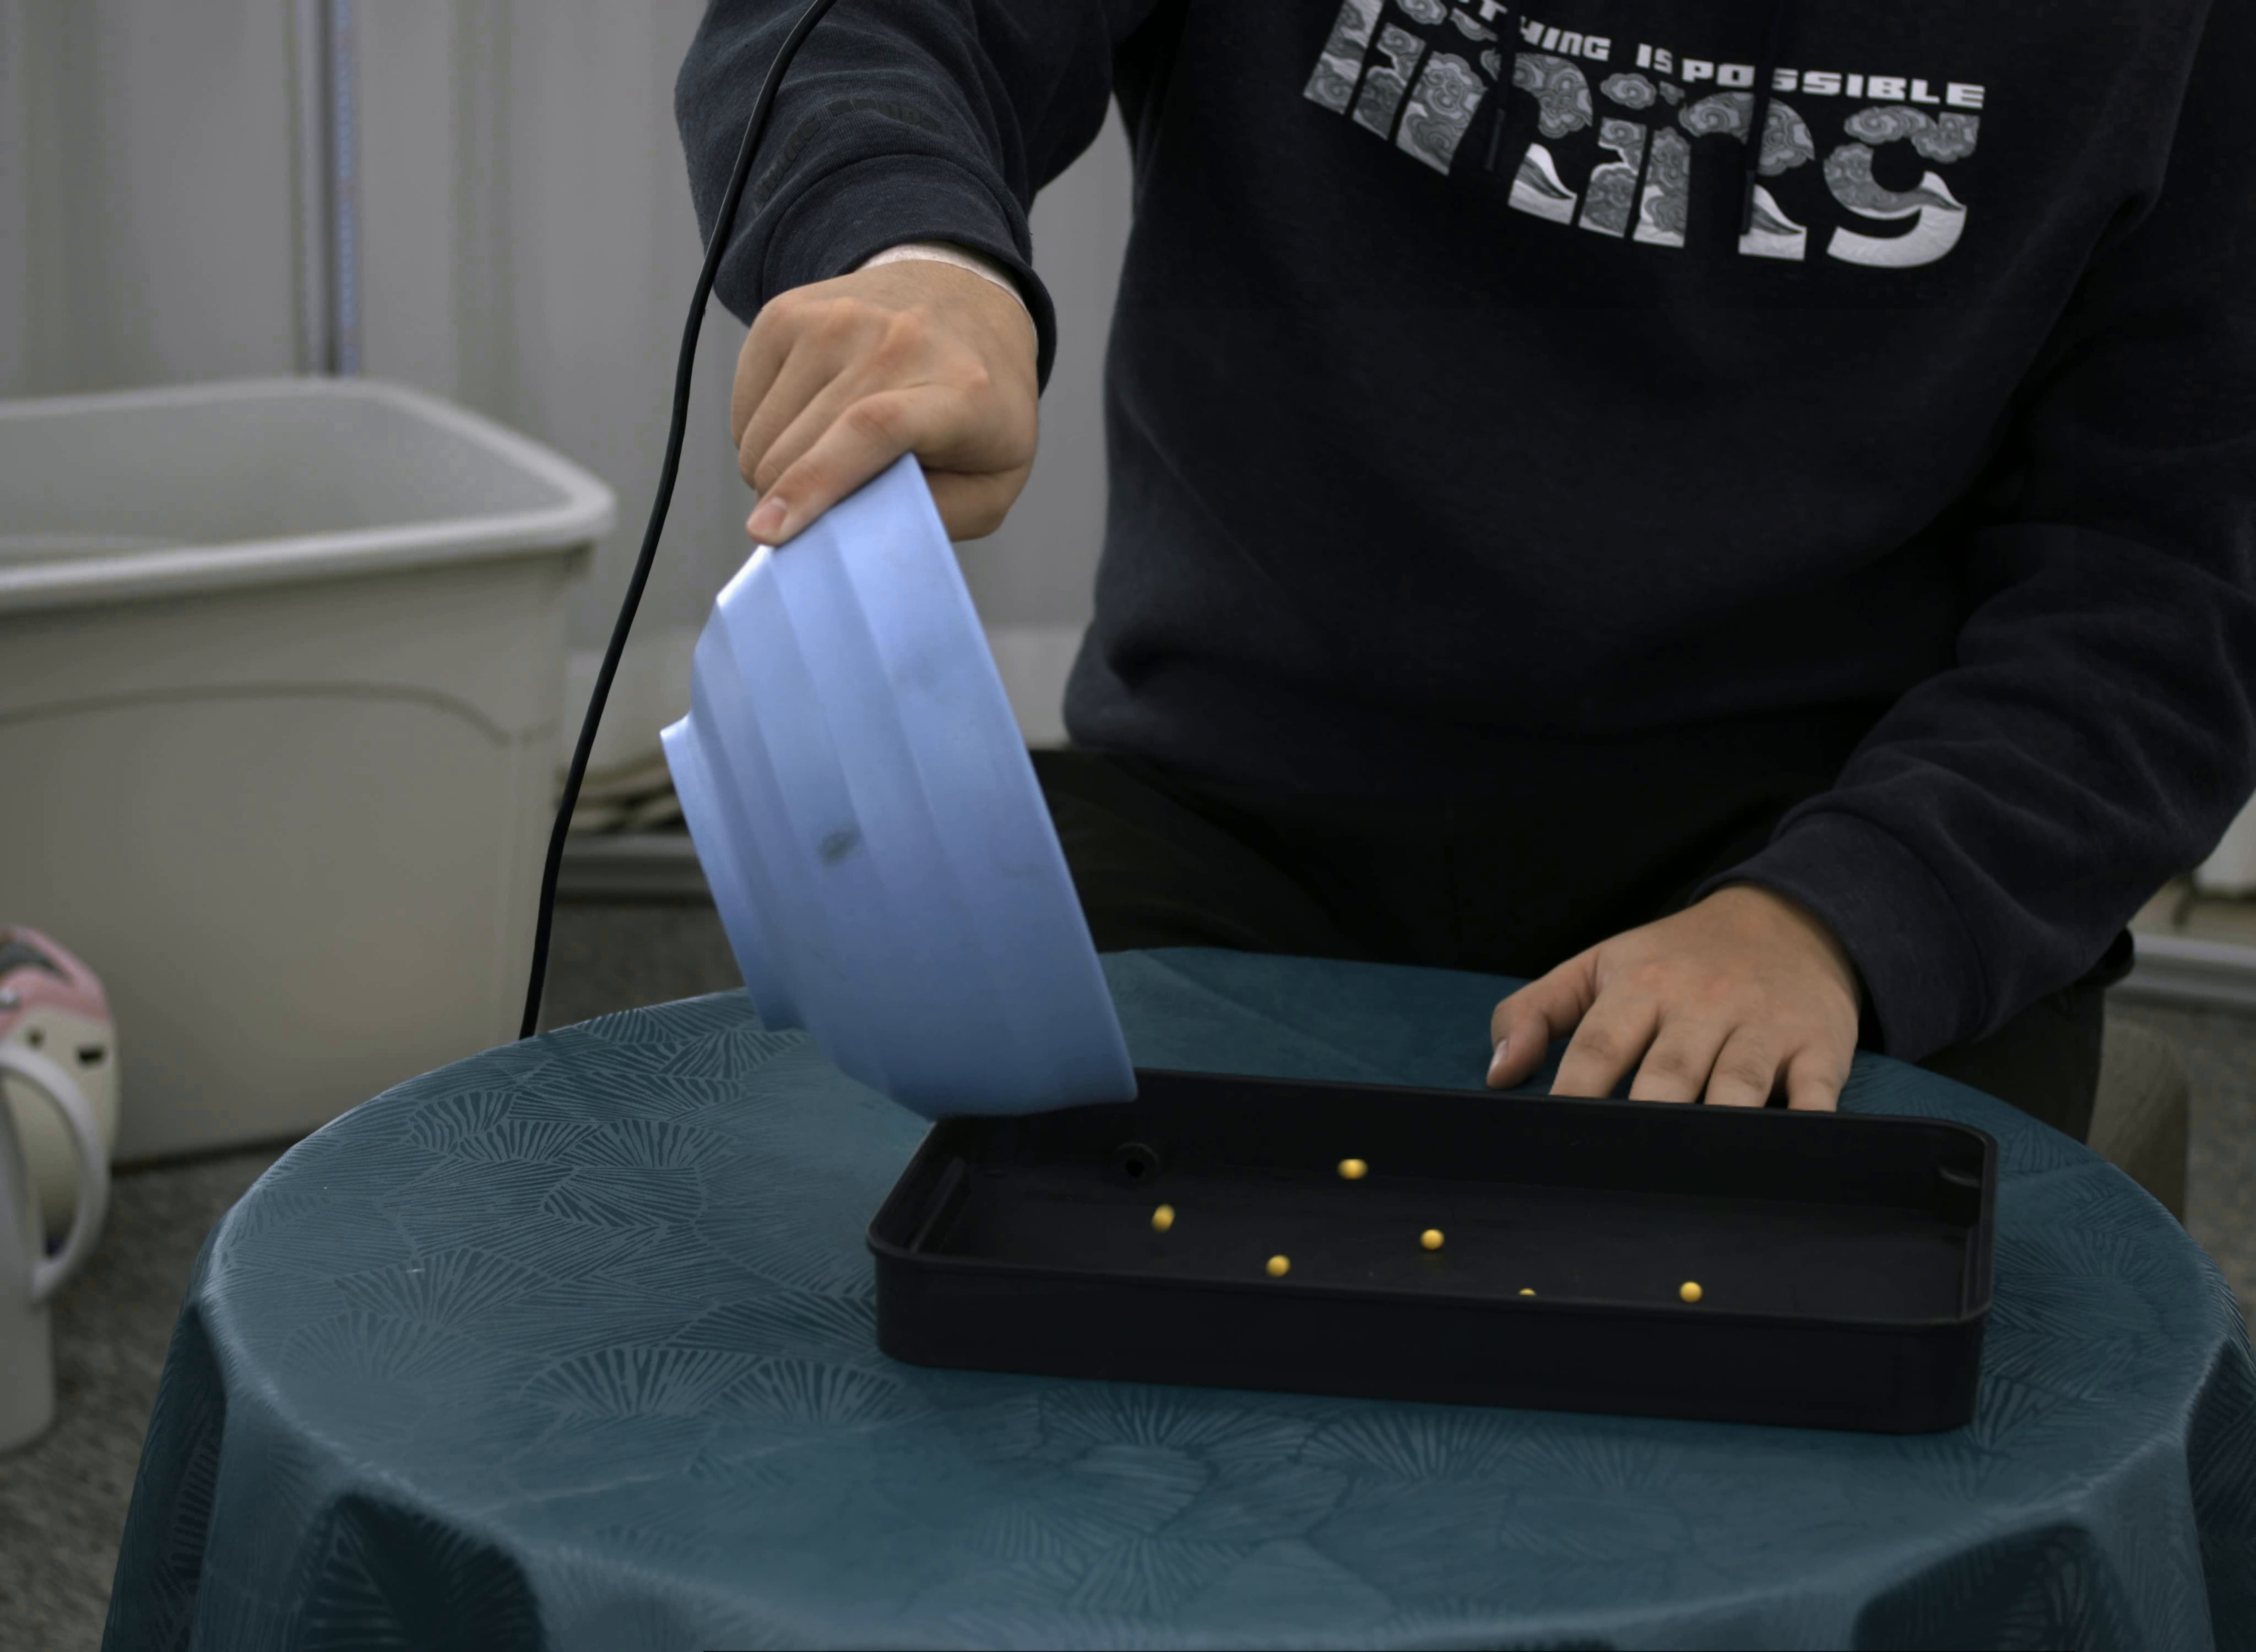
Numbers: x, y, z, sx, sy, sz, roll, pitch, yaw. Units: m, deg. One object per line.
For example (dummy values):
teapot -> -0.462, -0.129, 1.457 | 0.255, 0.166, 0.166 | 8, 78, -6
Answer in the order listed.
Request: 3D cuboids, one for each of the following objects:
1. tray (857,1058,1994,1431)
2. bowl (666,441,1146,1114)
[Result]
tray -> 0.091, 0.118, 1.538 | 0.316, 0.037, 0.184 | 3, 15, 8
bowl -> -0.071, -0.001, 1.488 | 0.095, 0.198, 0.195 | -19, 17, 0
